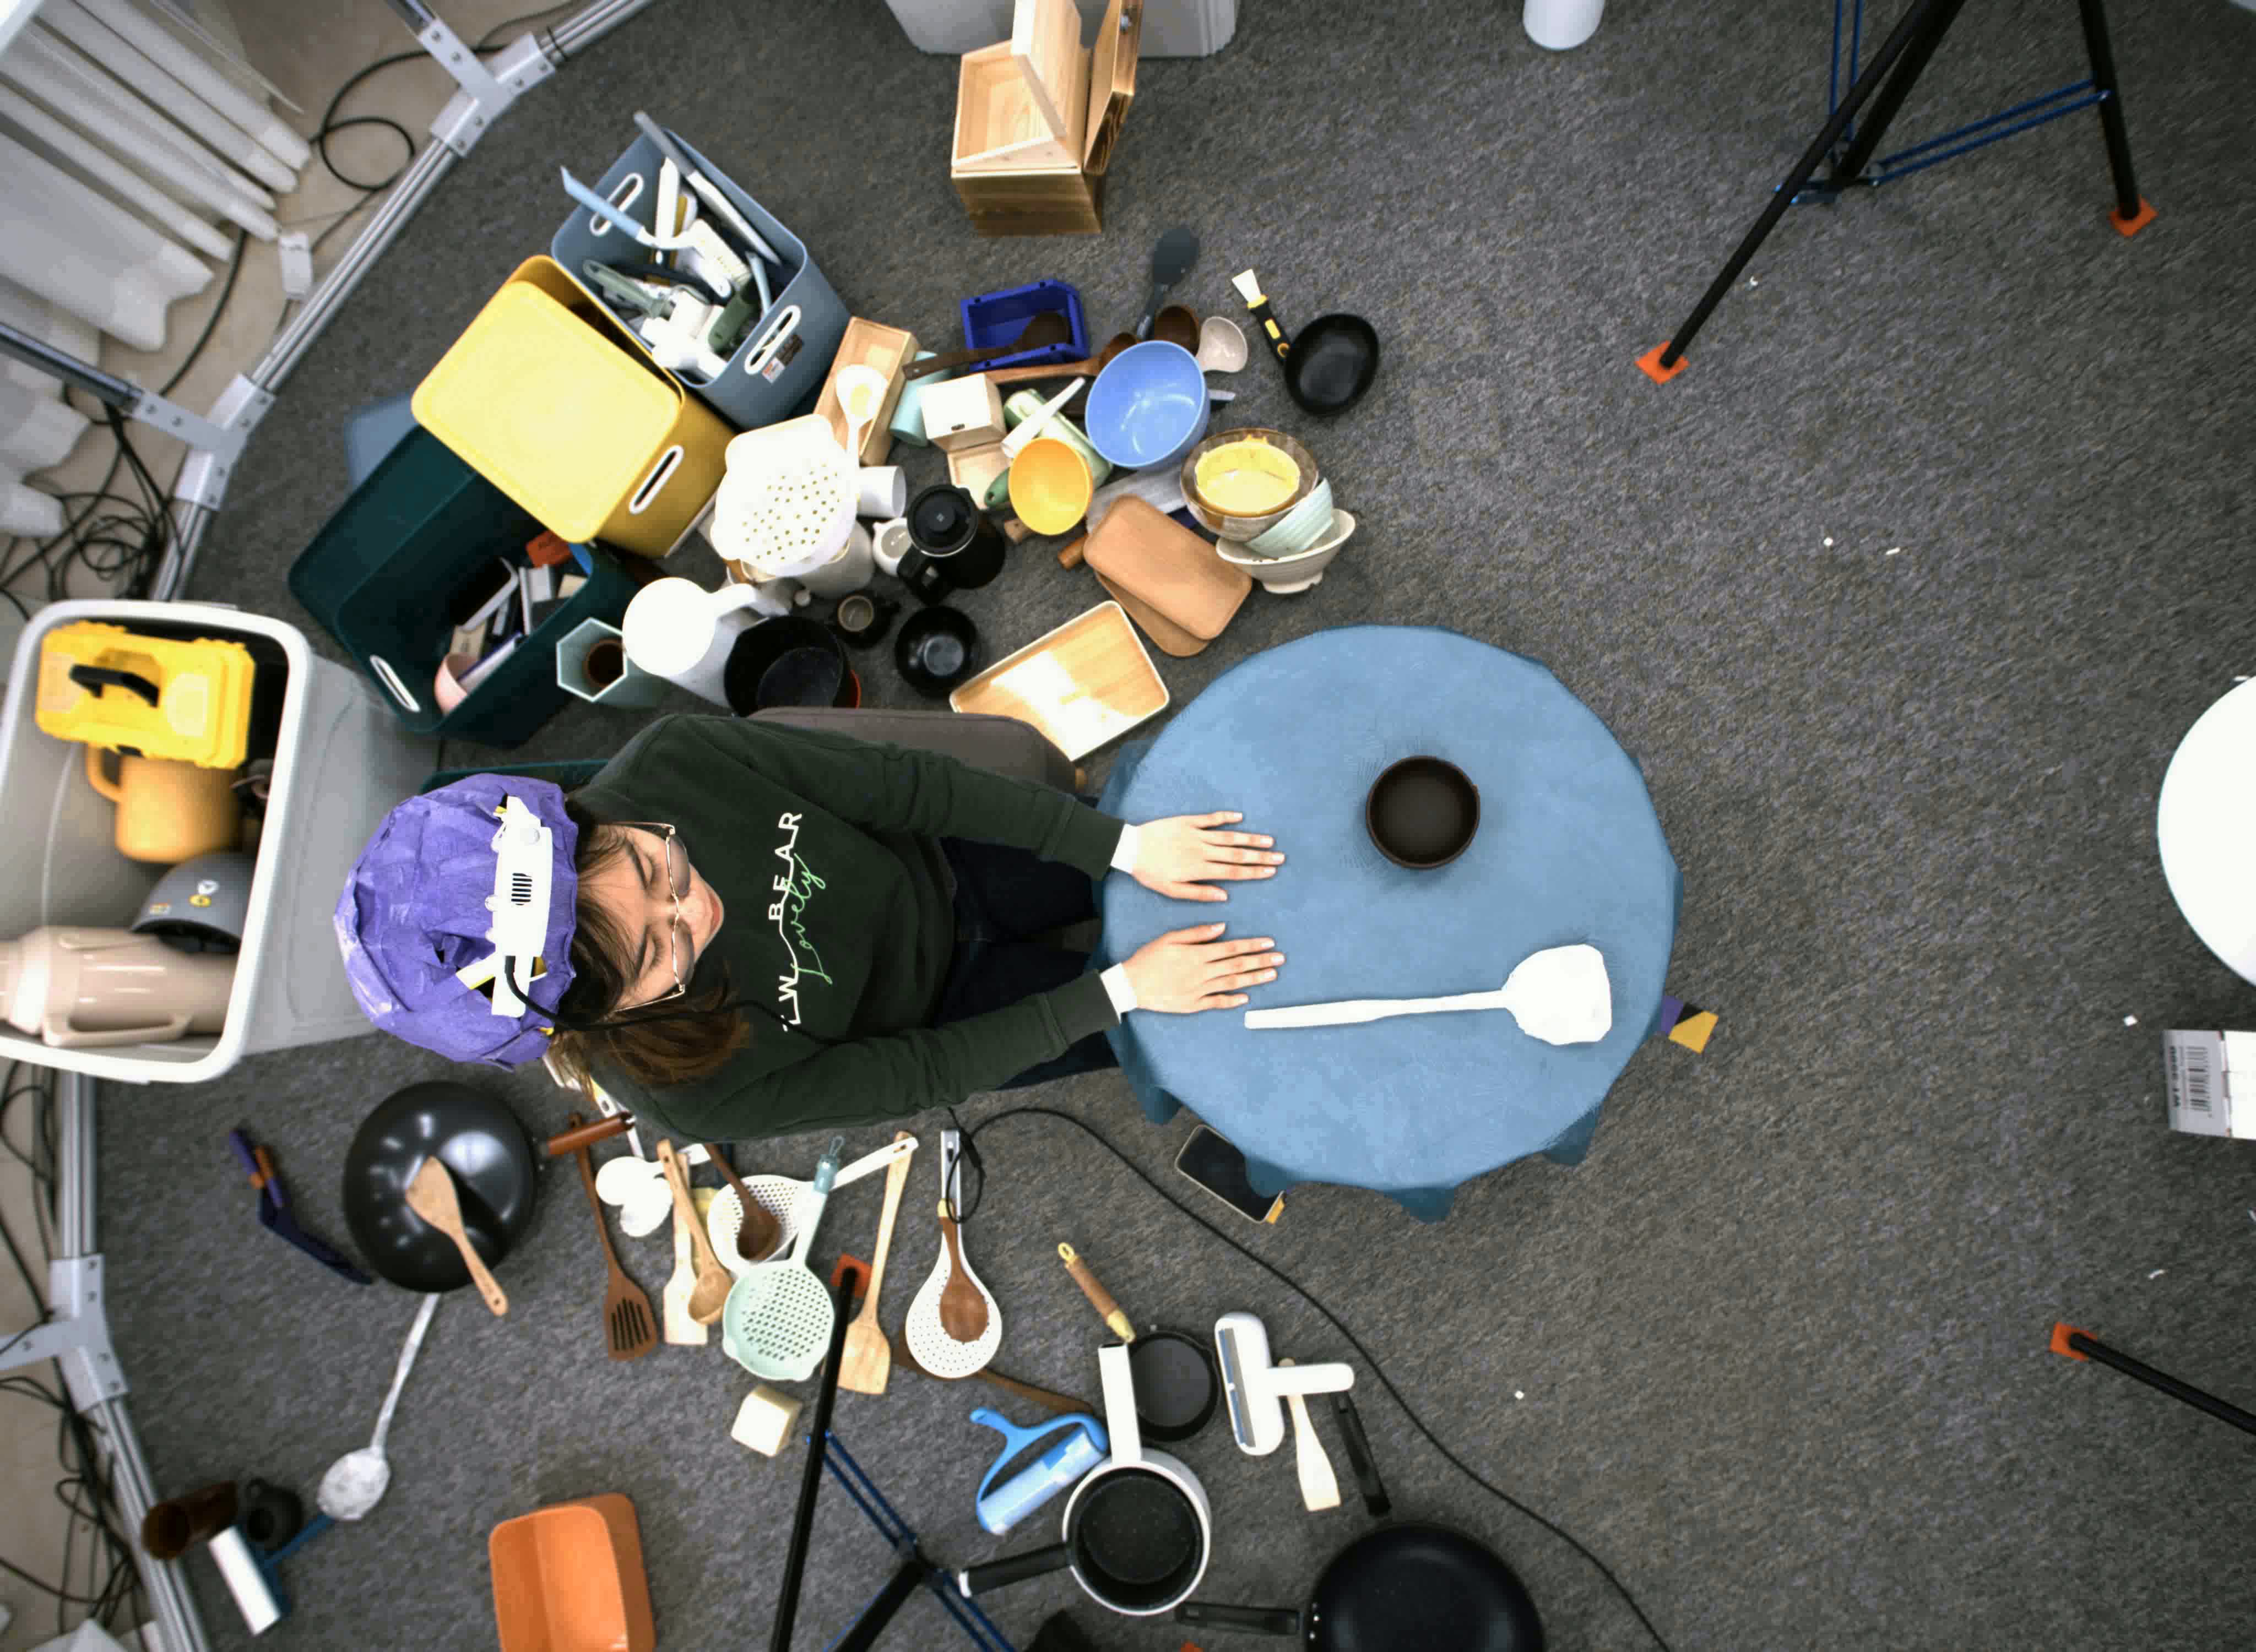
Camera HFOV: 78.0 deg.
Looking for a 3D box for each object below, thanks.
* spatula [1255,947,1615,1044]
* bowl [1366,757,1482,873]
[{"bbox_3d":[0.312,0.182,1.430,0.366,0.045,0.098,-5,87,10],"label":"spatula"},{"bbox_3d":[0.306,-0.010,1.427,0.118,0.070,0.117,-1,84,11],"label":"bowl"}]
